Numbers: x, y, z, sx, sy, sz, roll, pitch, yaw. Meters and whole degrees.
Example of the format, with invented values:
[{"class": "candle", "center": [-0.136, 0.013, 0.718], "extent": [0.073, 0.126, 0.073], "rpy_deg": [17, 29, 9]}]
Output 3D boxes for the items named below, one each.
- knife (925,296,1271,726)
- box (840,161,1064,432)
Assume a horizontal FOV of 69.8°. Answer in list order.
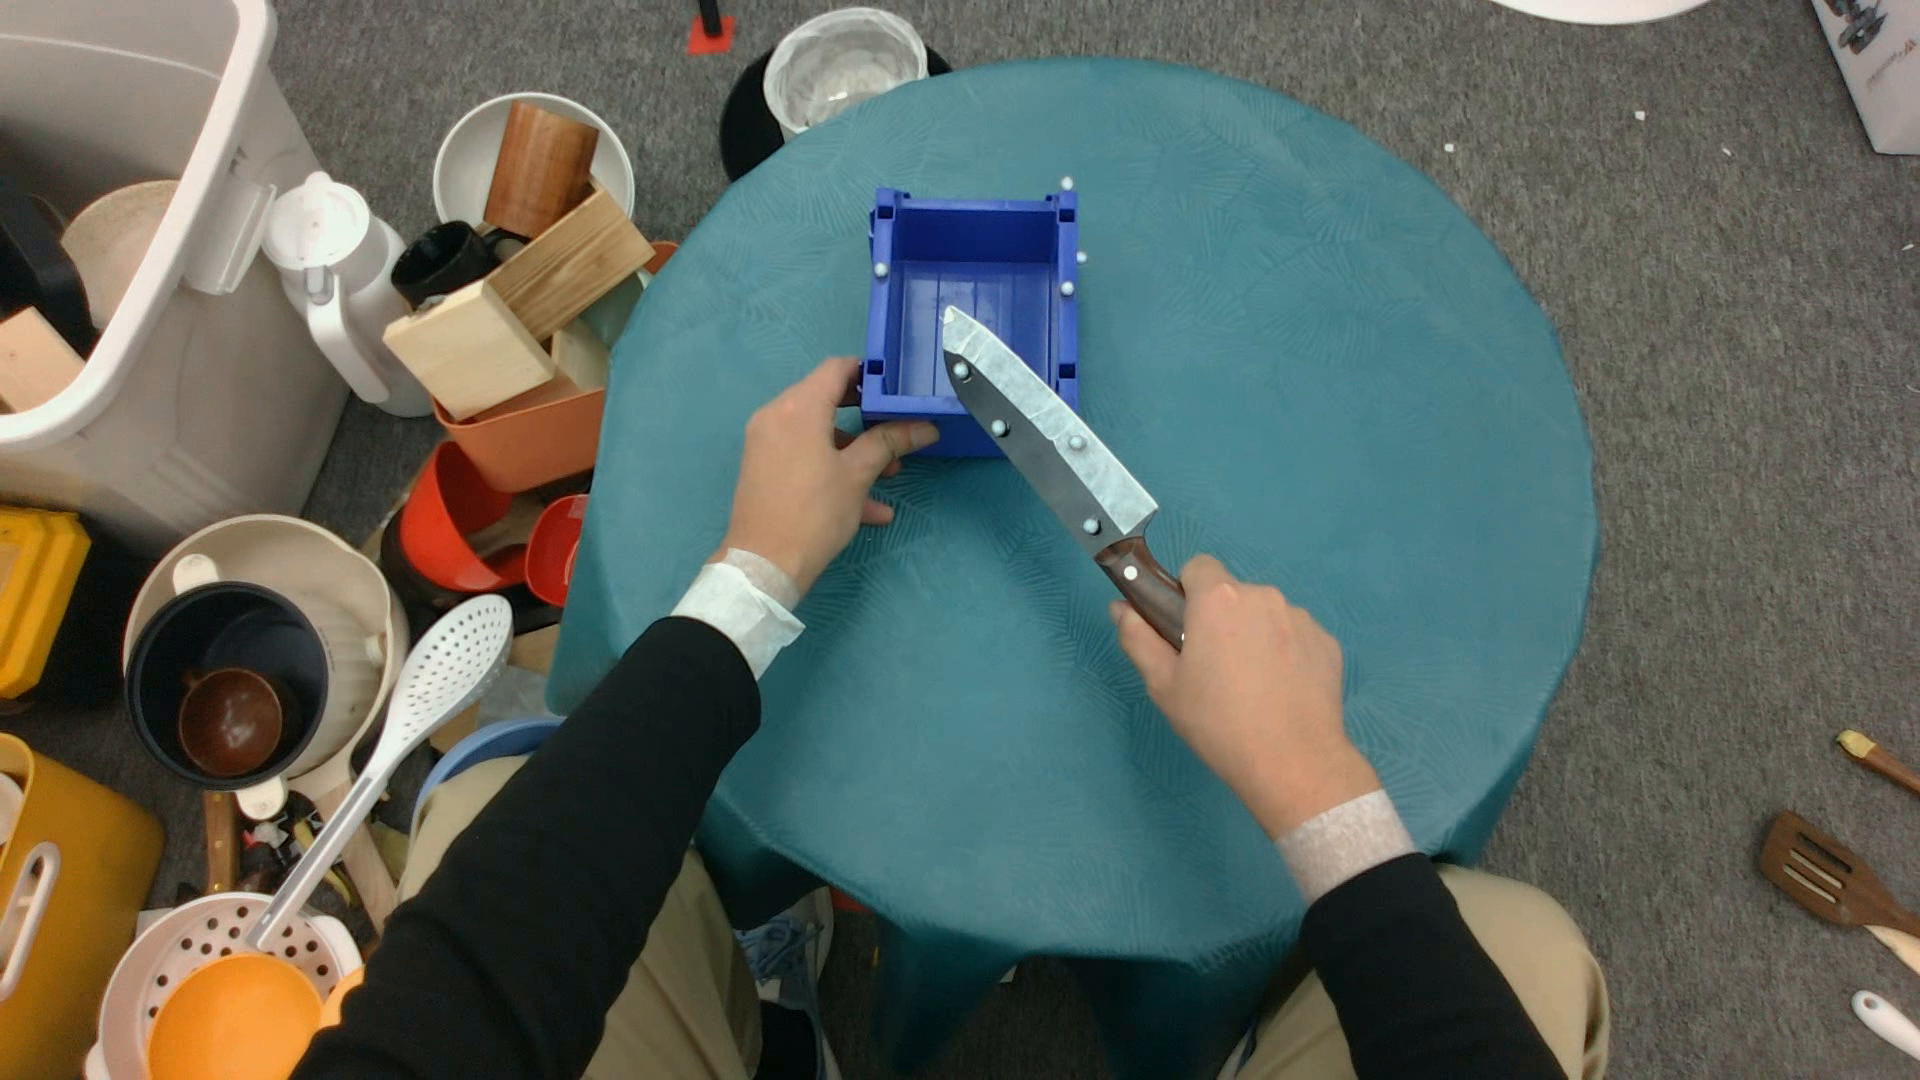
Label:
[{"class": "knife", "center": [0.066, -0.023, 0.719], "extent": [0.050, 0.020, 0.289], "rpy_deg": [-41, 71, 12]}, {"class": "box", "center": [-0.003, -0.152, 0.827], "extent": [0.124, 0.081, 0.180], "rpy_deg": [2, 69, 2]}]
